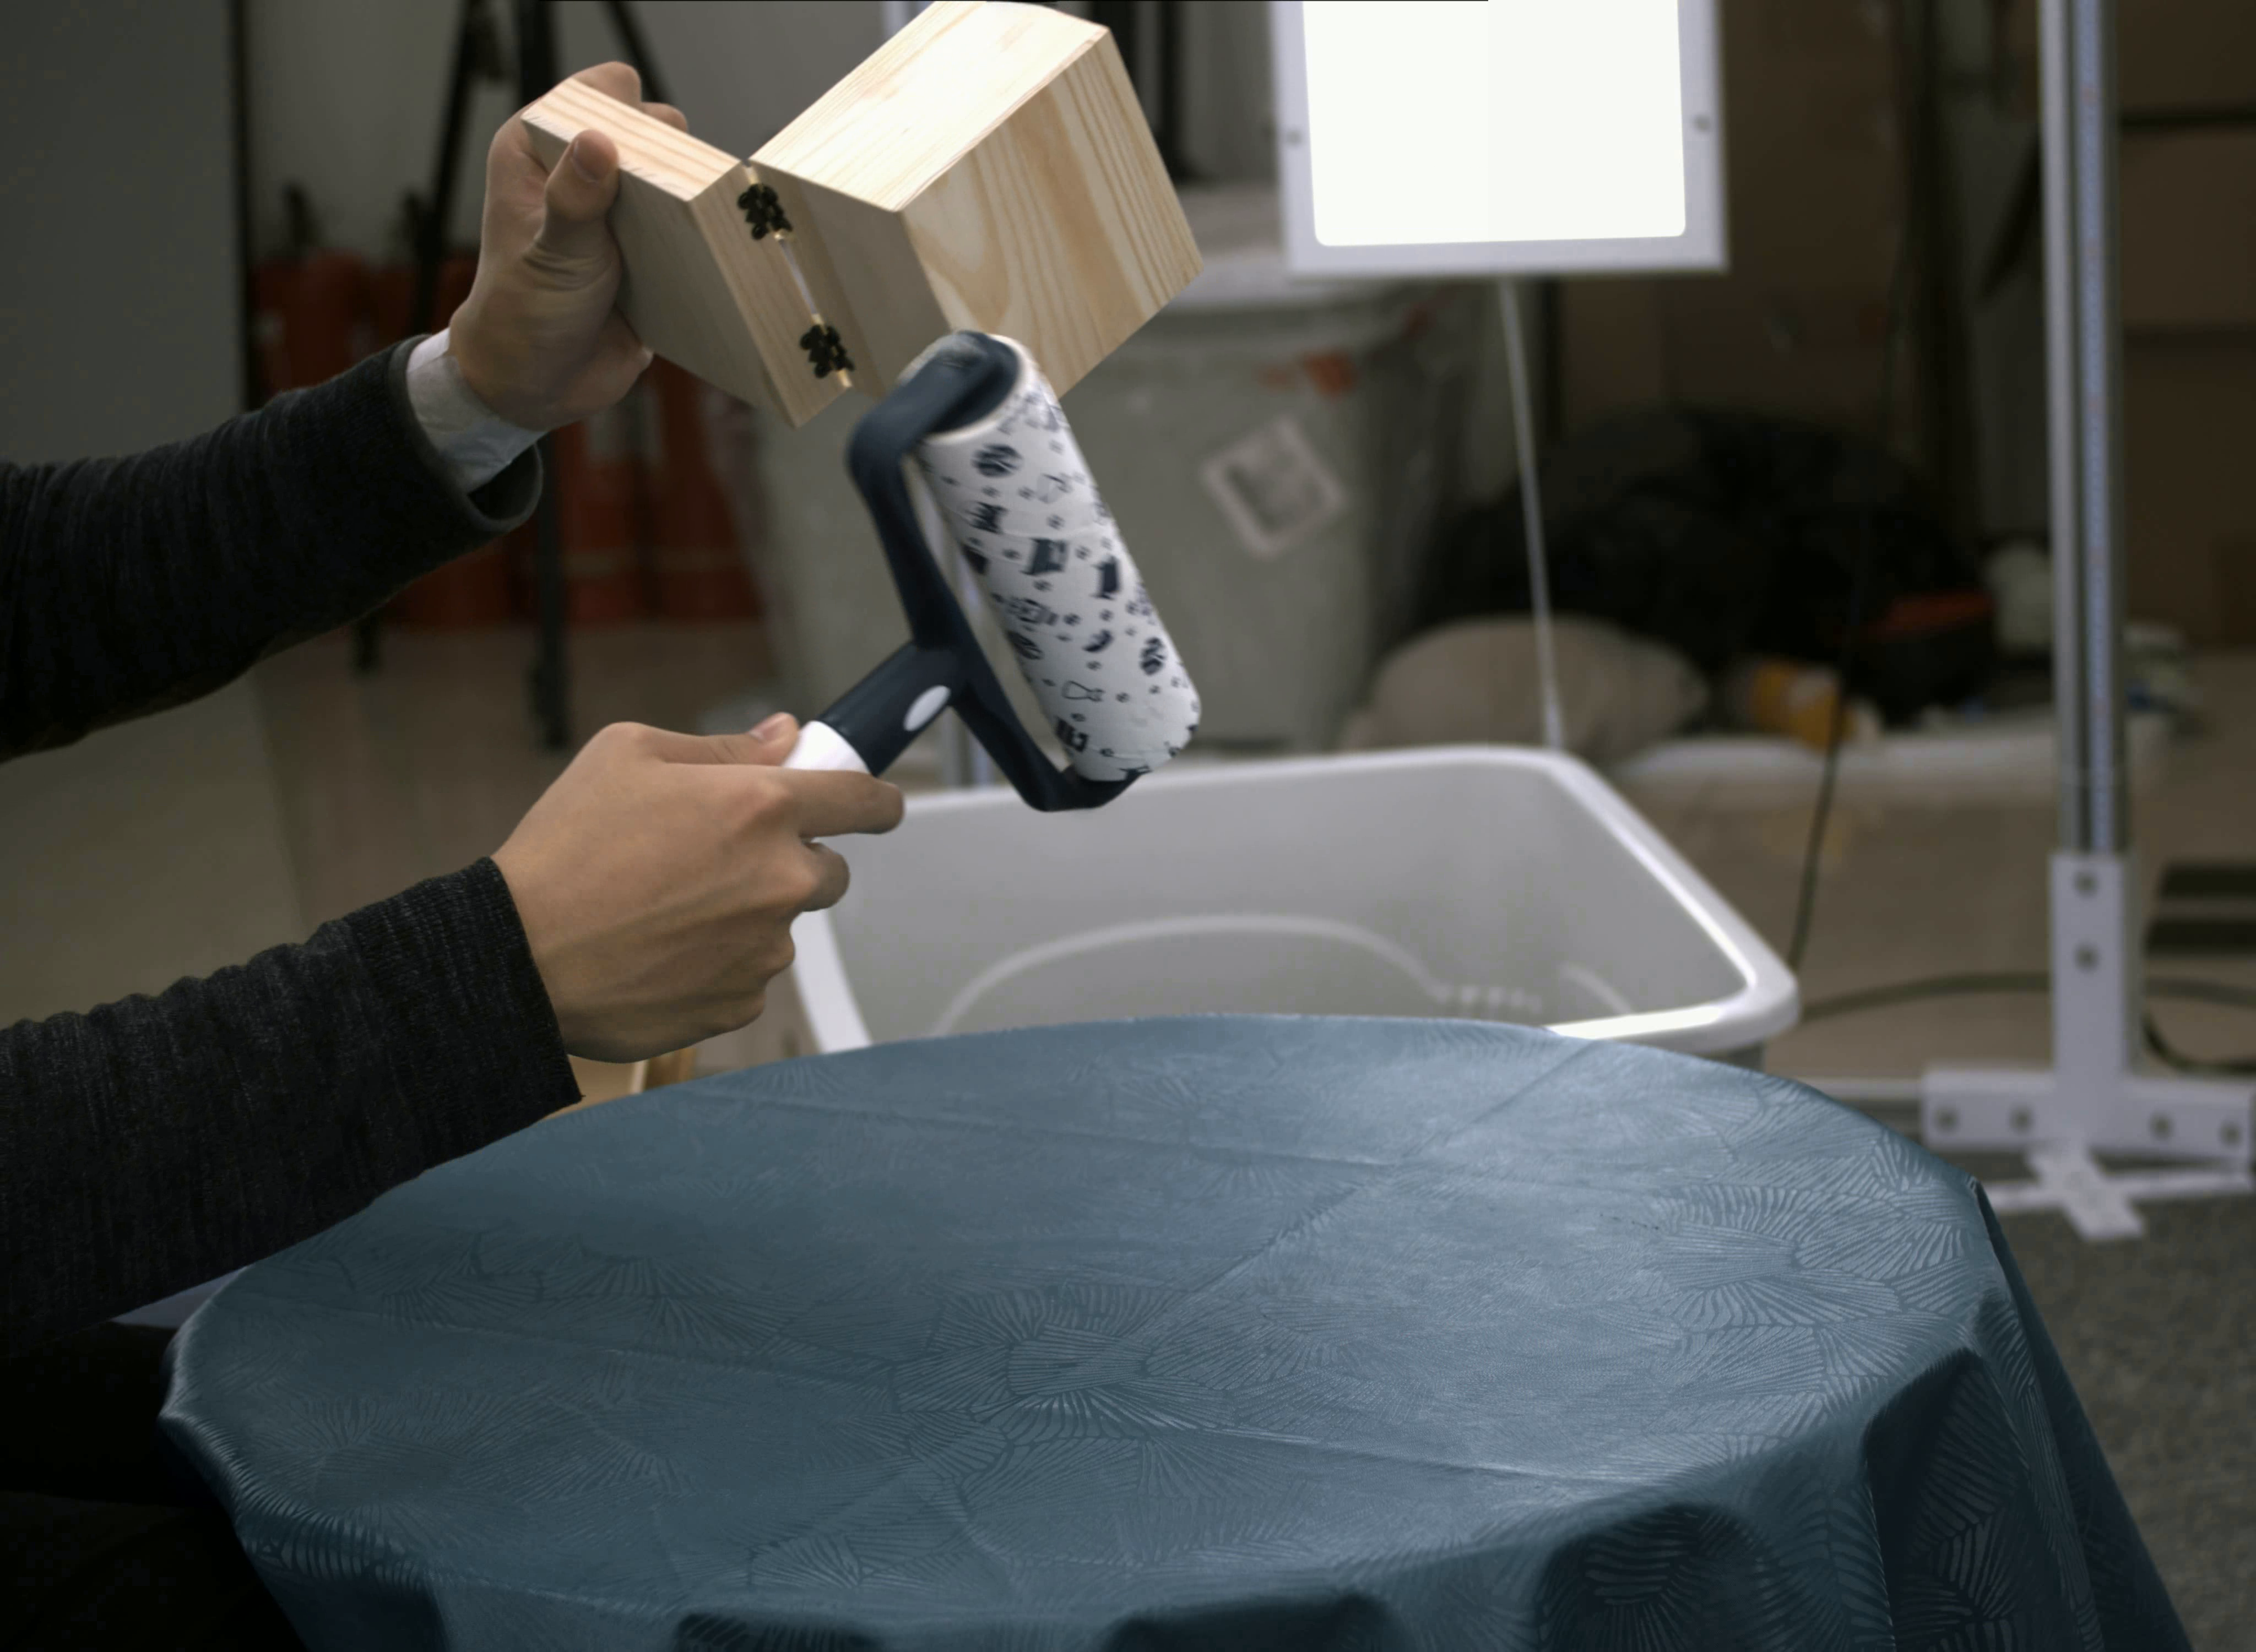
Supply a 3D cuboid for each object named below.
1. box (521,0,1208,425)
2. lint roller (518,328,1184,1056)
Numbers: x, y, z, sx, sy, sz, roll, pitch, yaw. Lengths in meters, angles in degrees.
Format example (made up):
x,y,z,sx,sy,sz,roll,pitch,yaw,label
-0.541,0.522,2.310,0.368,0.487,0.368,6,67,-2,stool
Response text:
x,y,z,sx,sy,sz,roll,pitch,yaw,label
-0.088,-0.214,1.849,0.132,0.102,0.188,-44,42,-21,box
-0.094,-0.015,1.716,0.051,0.175,0.244,25,65,43,lint roller
